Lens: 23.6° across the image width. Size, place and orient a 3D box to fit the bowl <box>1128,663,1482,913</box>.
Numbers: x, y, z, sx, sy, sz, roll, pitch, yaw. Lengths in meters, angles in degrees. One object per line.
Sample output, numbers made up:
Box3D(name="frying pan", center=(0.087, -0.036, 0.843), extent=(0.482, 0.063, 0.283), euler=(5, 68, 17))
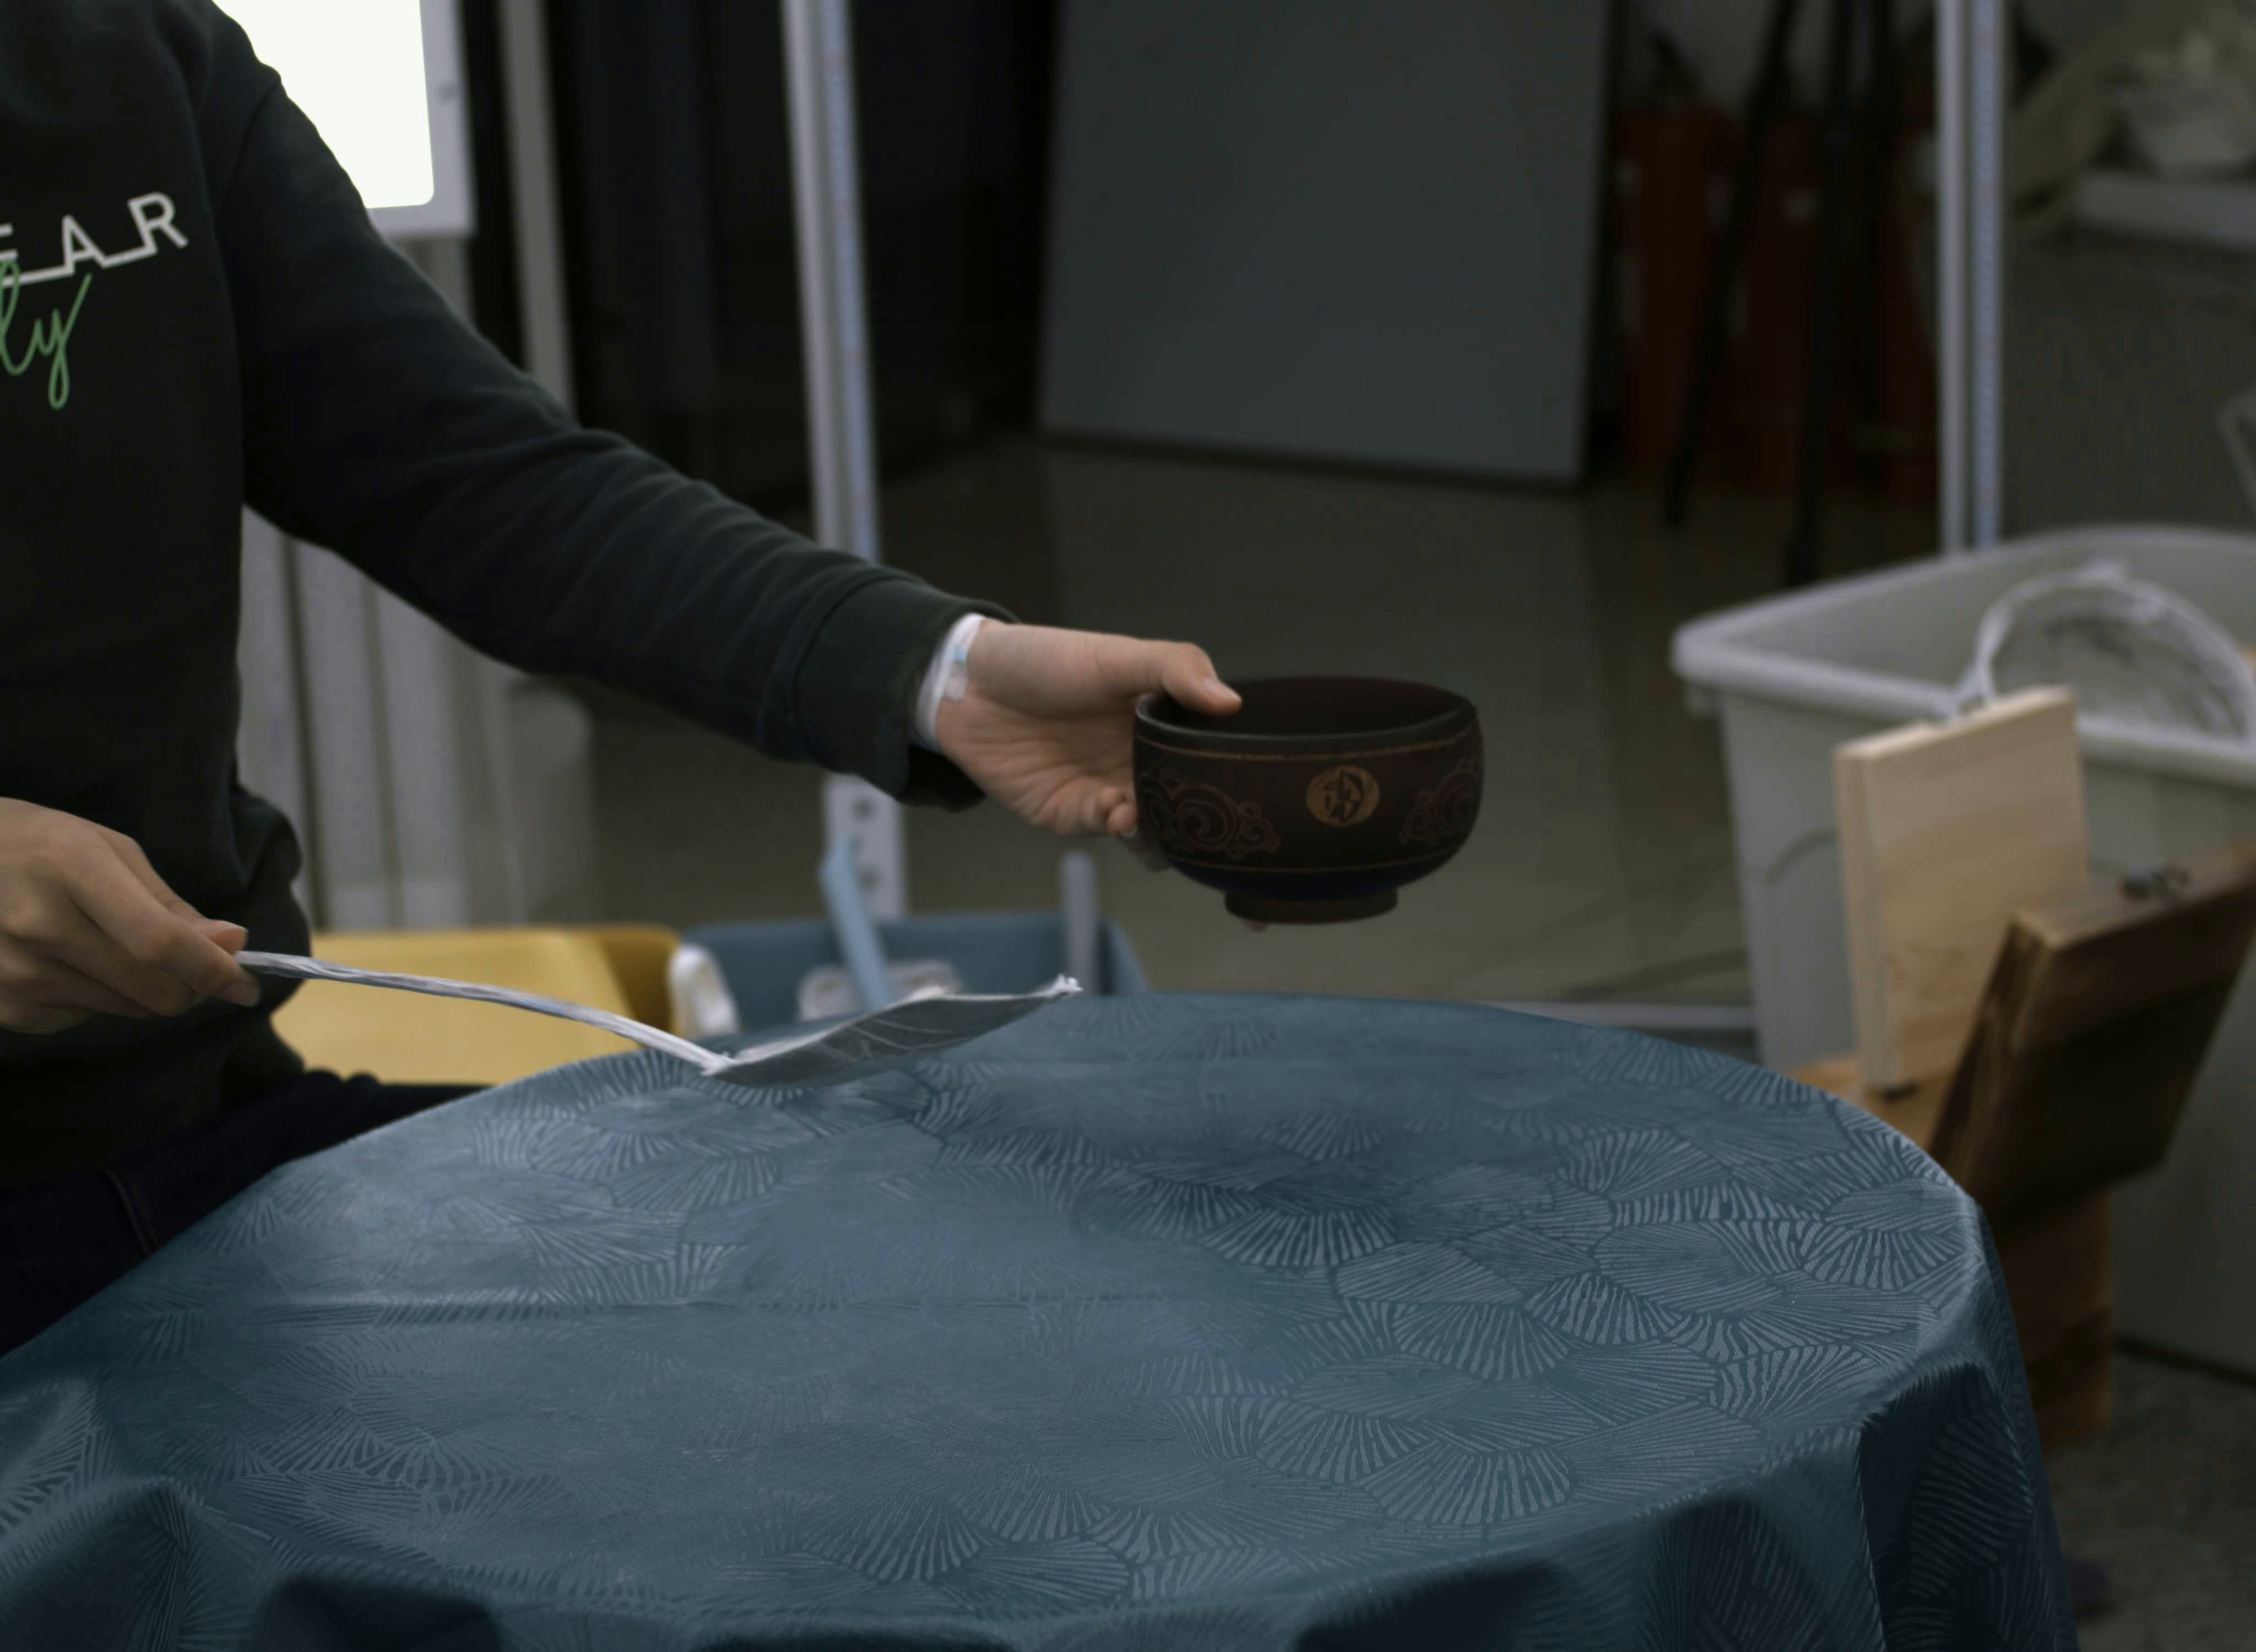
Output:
Box3D(name="bowl", center=(0.058, -0.011, 1.766), extent=(0.116, 0.071, 0.118), euler=(-3, 9, 0))

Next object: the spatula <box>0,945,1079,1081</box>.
Box3D(name="spatula", center=(-0.187, 0.042, 1.575), extent=(0.366, 0.045, 0.097), euler=(7, 4, 27))
